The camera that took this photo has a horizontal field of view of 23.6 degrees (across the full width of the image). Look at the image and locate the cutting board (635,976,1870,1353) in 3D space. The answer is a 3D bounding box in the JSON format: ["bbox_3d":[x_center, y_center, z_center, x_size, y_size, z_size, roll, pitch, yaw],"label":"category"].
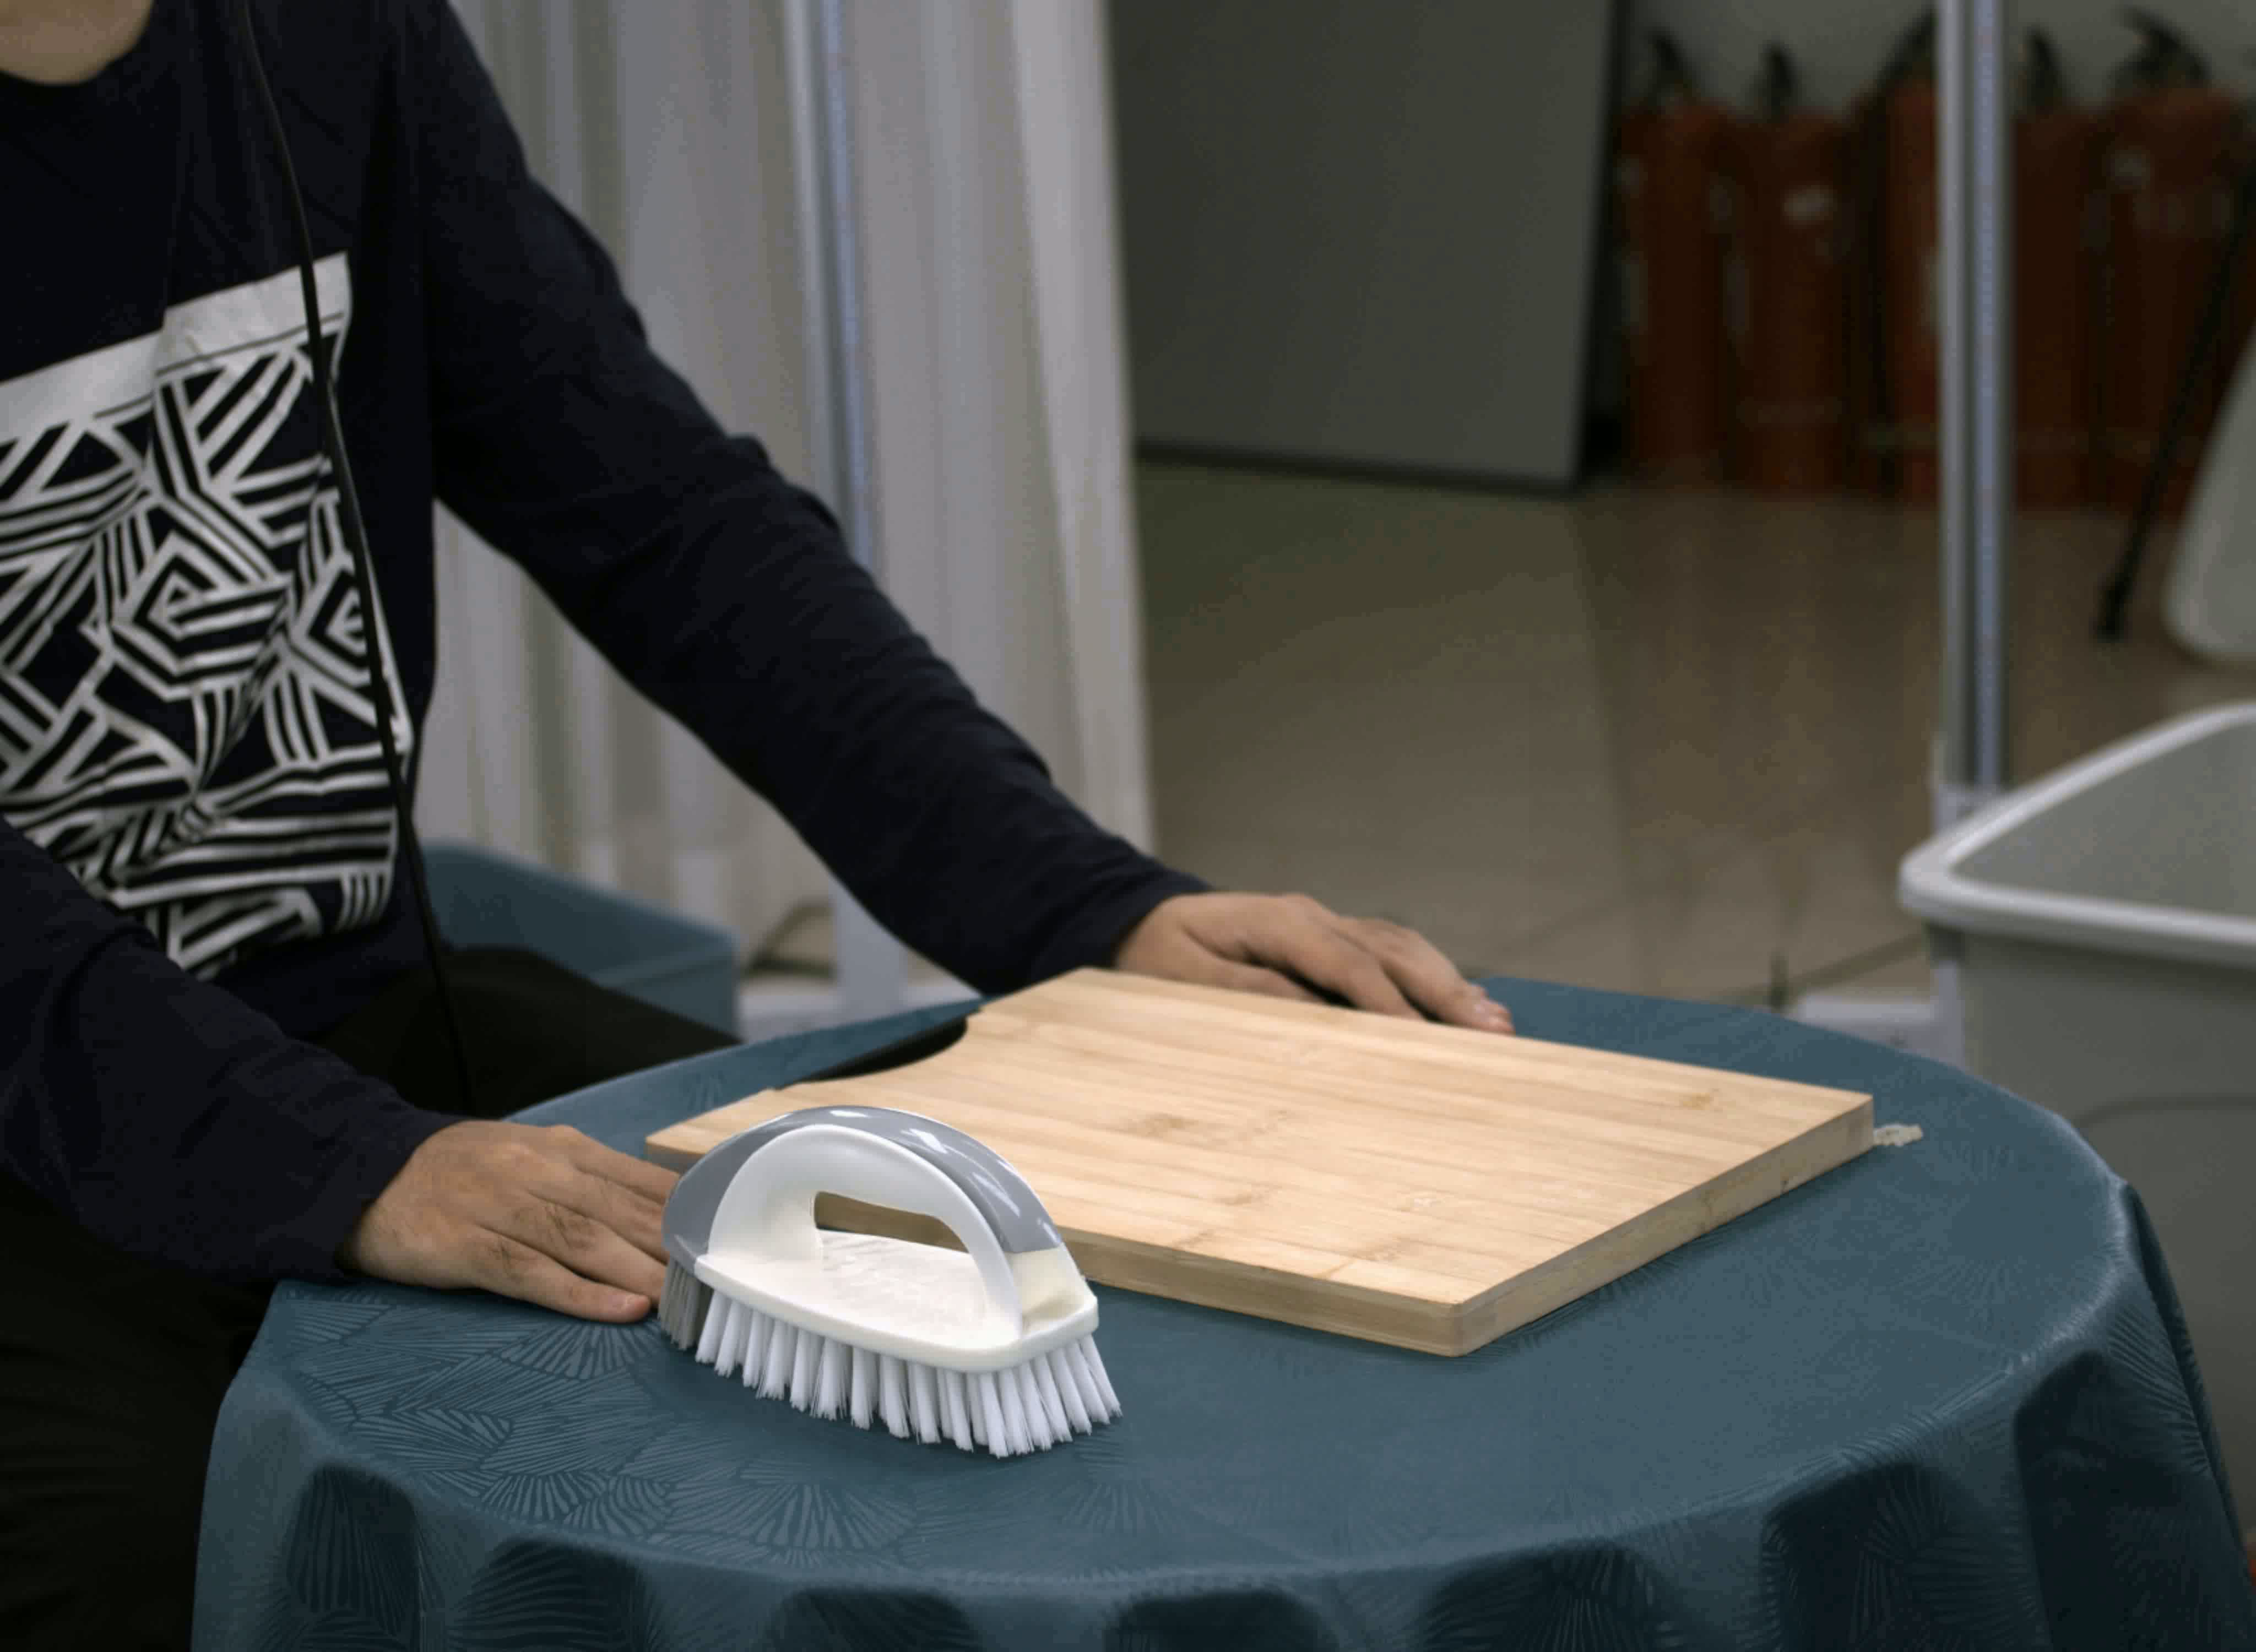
[{"bbox_3d":[0.039,0.107,1.791,0.351,0.024,0.246,7,17,39],"label":"cutting board"}]

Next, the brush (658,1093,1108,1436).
[{"bbox_3d":[-0.083,0.124,1.594,0.060,0.095,0.177,-14,14,-43],"label":"brush"}]
